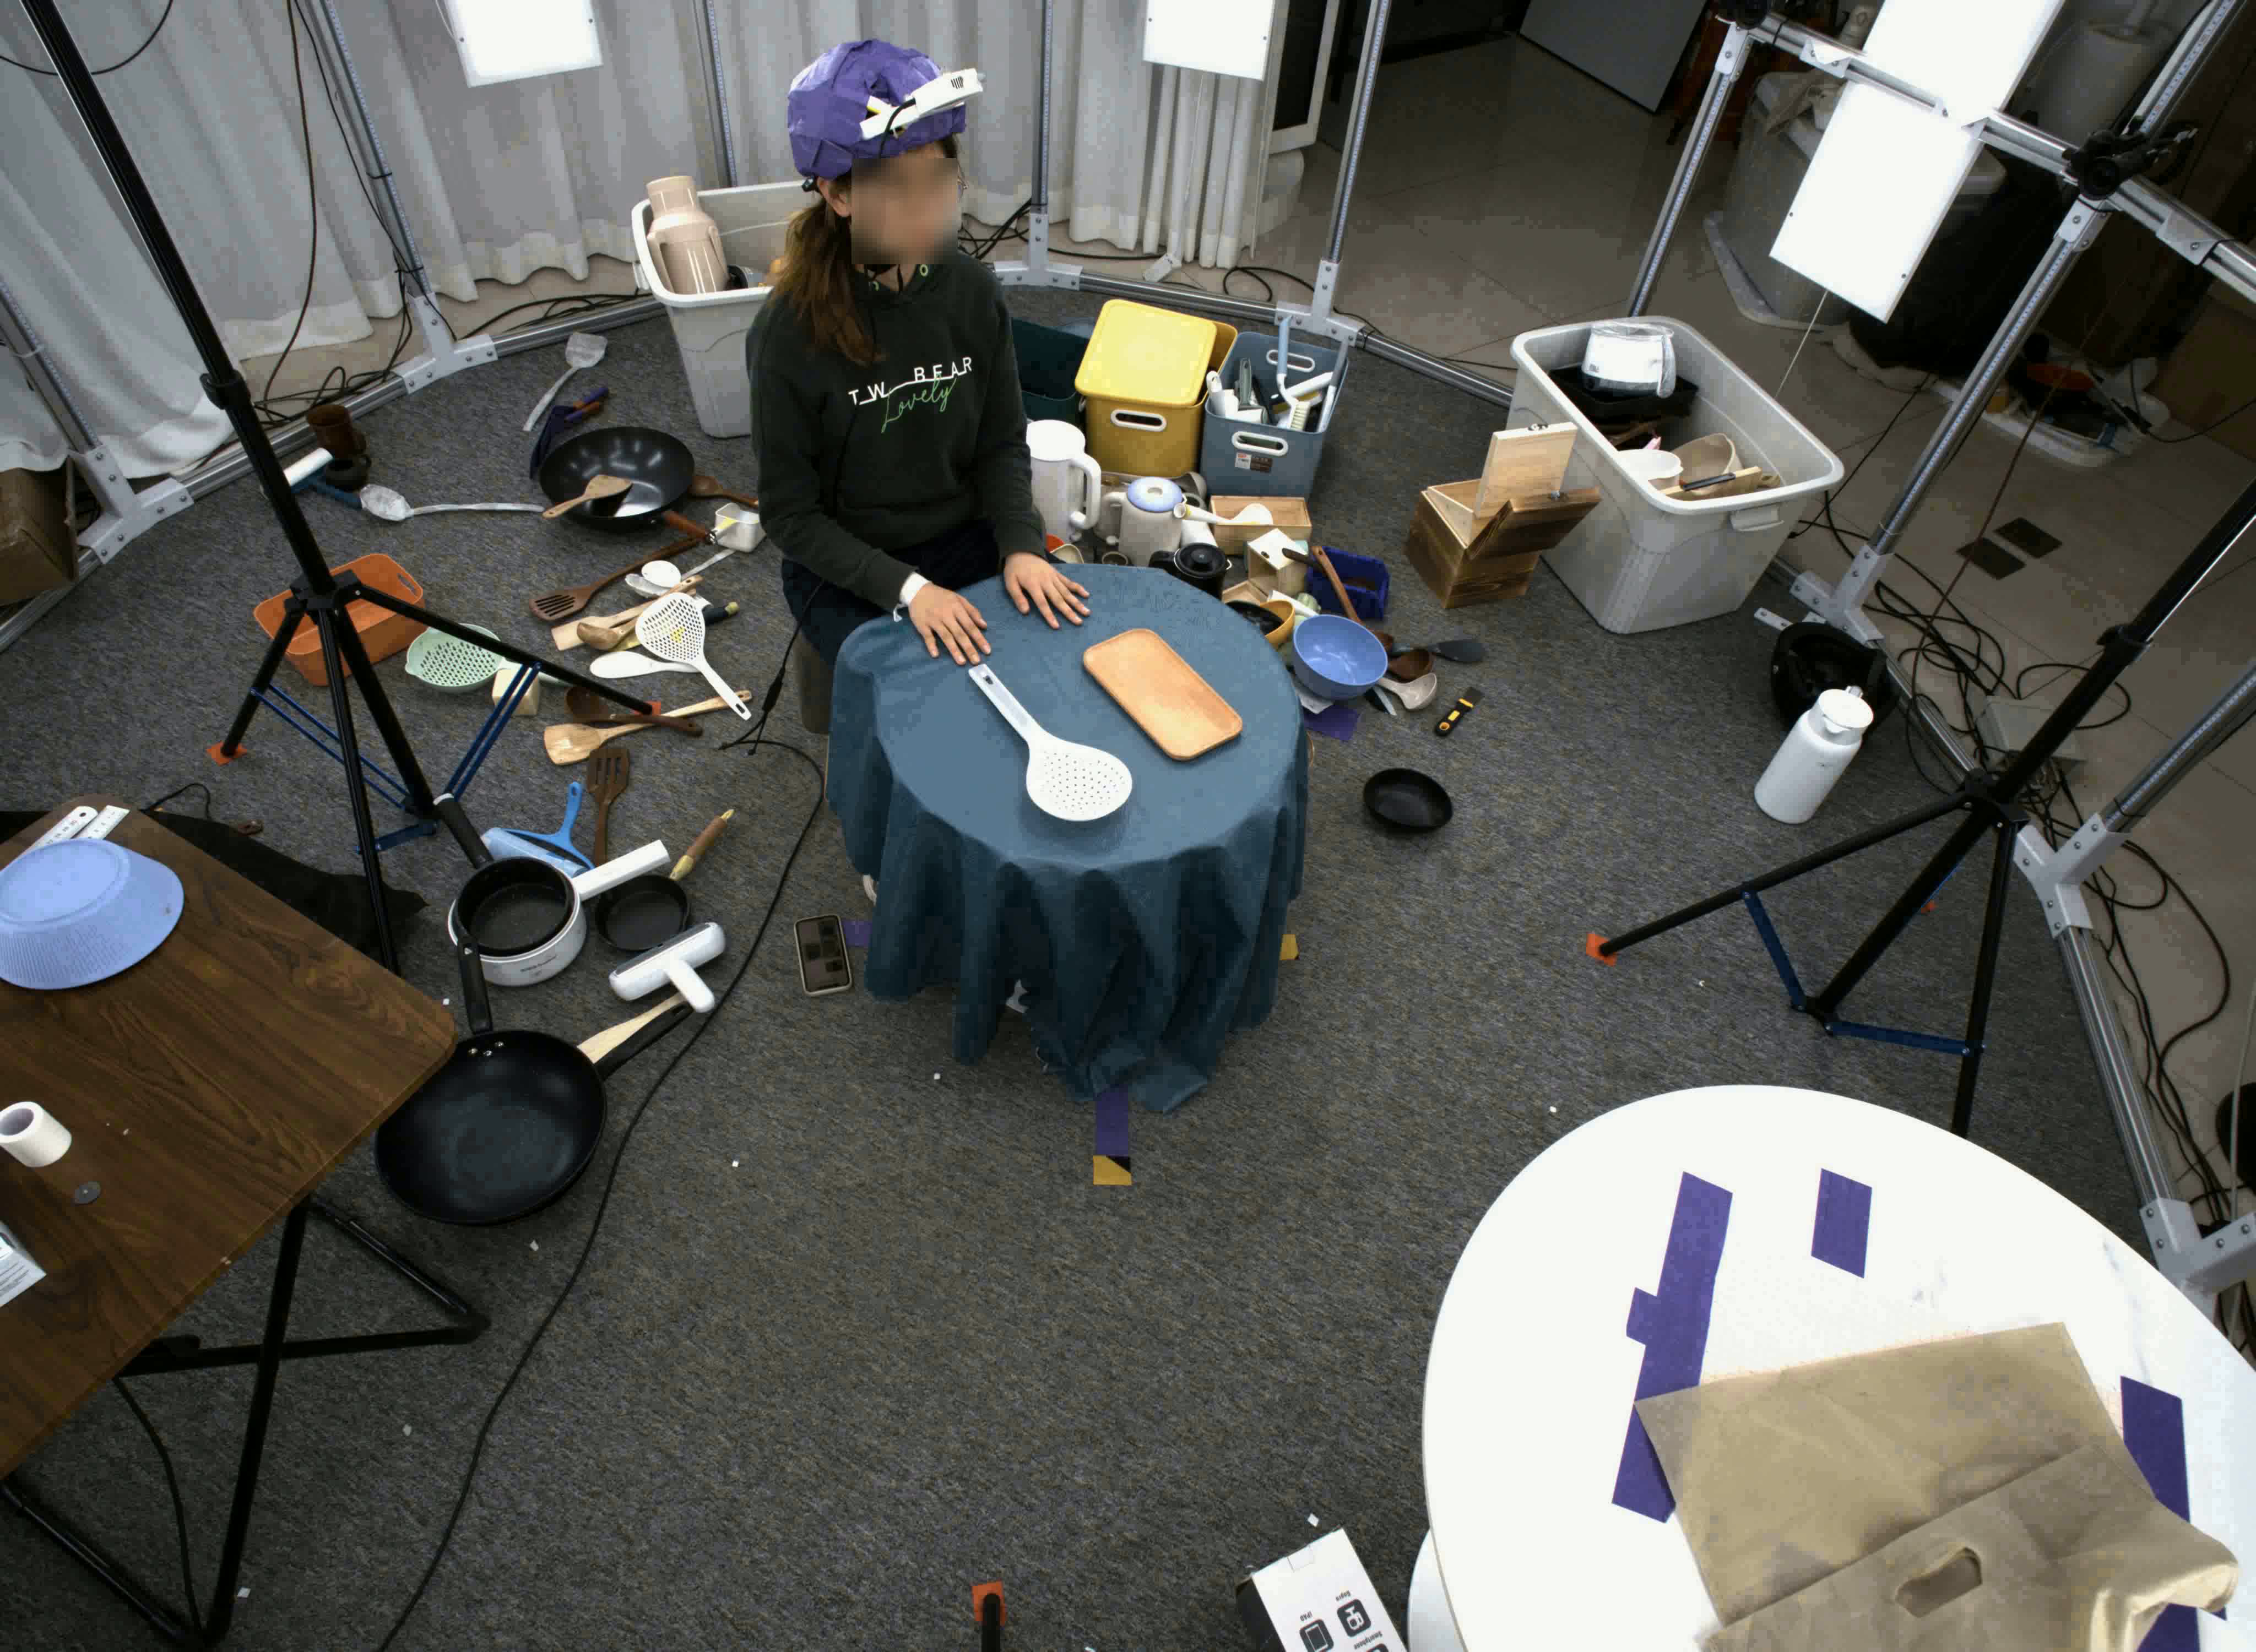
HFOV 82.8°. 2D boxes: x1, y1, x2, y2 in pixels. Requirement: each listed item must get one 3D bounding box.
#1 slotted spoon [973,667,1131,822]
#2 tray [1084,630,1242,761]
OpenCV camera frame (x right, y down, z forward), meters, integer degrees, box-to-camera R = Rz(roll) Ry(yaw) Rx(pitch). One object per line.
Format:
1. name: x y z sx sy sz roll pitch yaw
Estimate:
1. slotted spoon: -0.121 -0.117 1.748 0.136 0.044 0.357 -22 53 -24
2. tray: 0.048 -0.190 1.842 0.131 0.022 0.255 -24 54 -25
